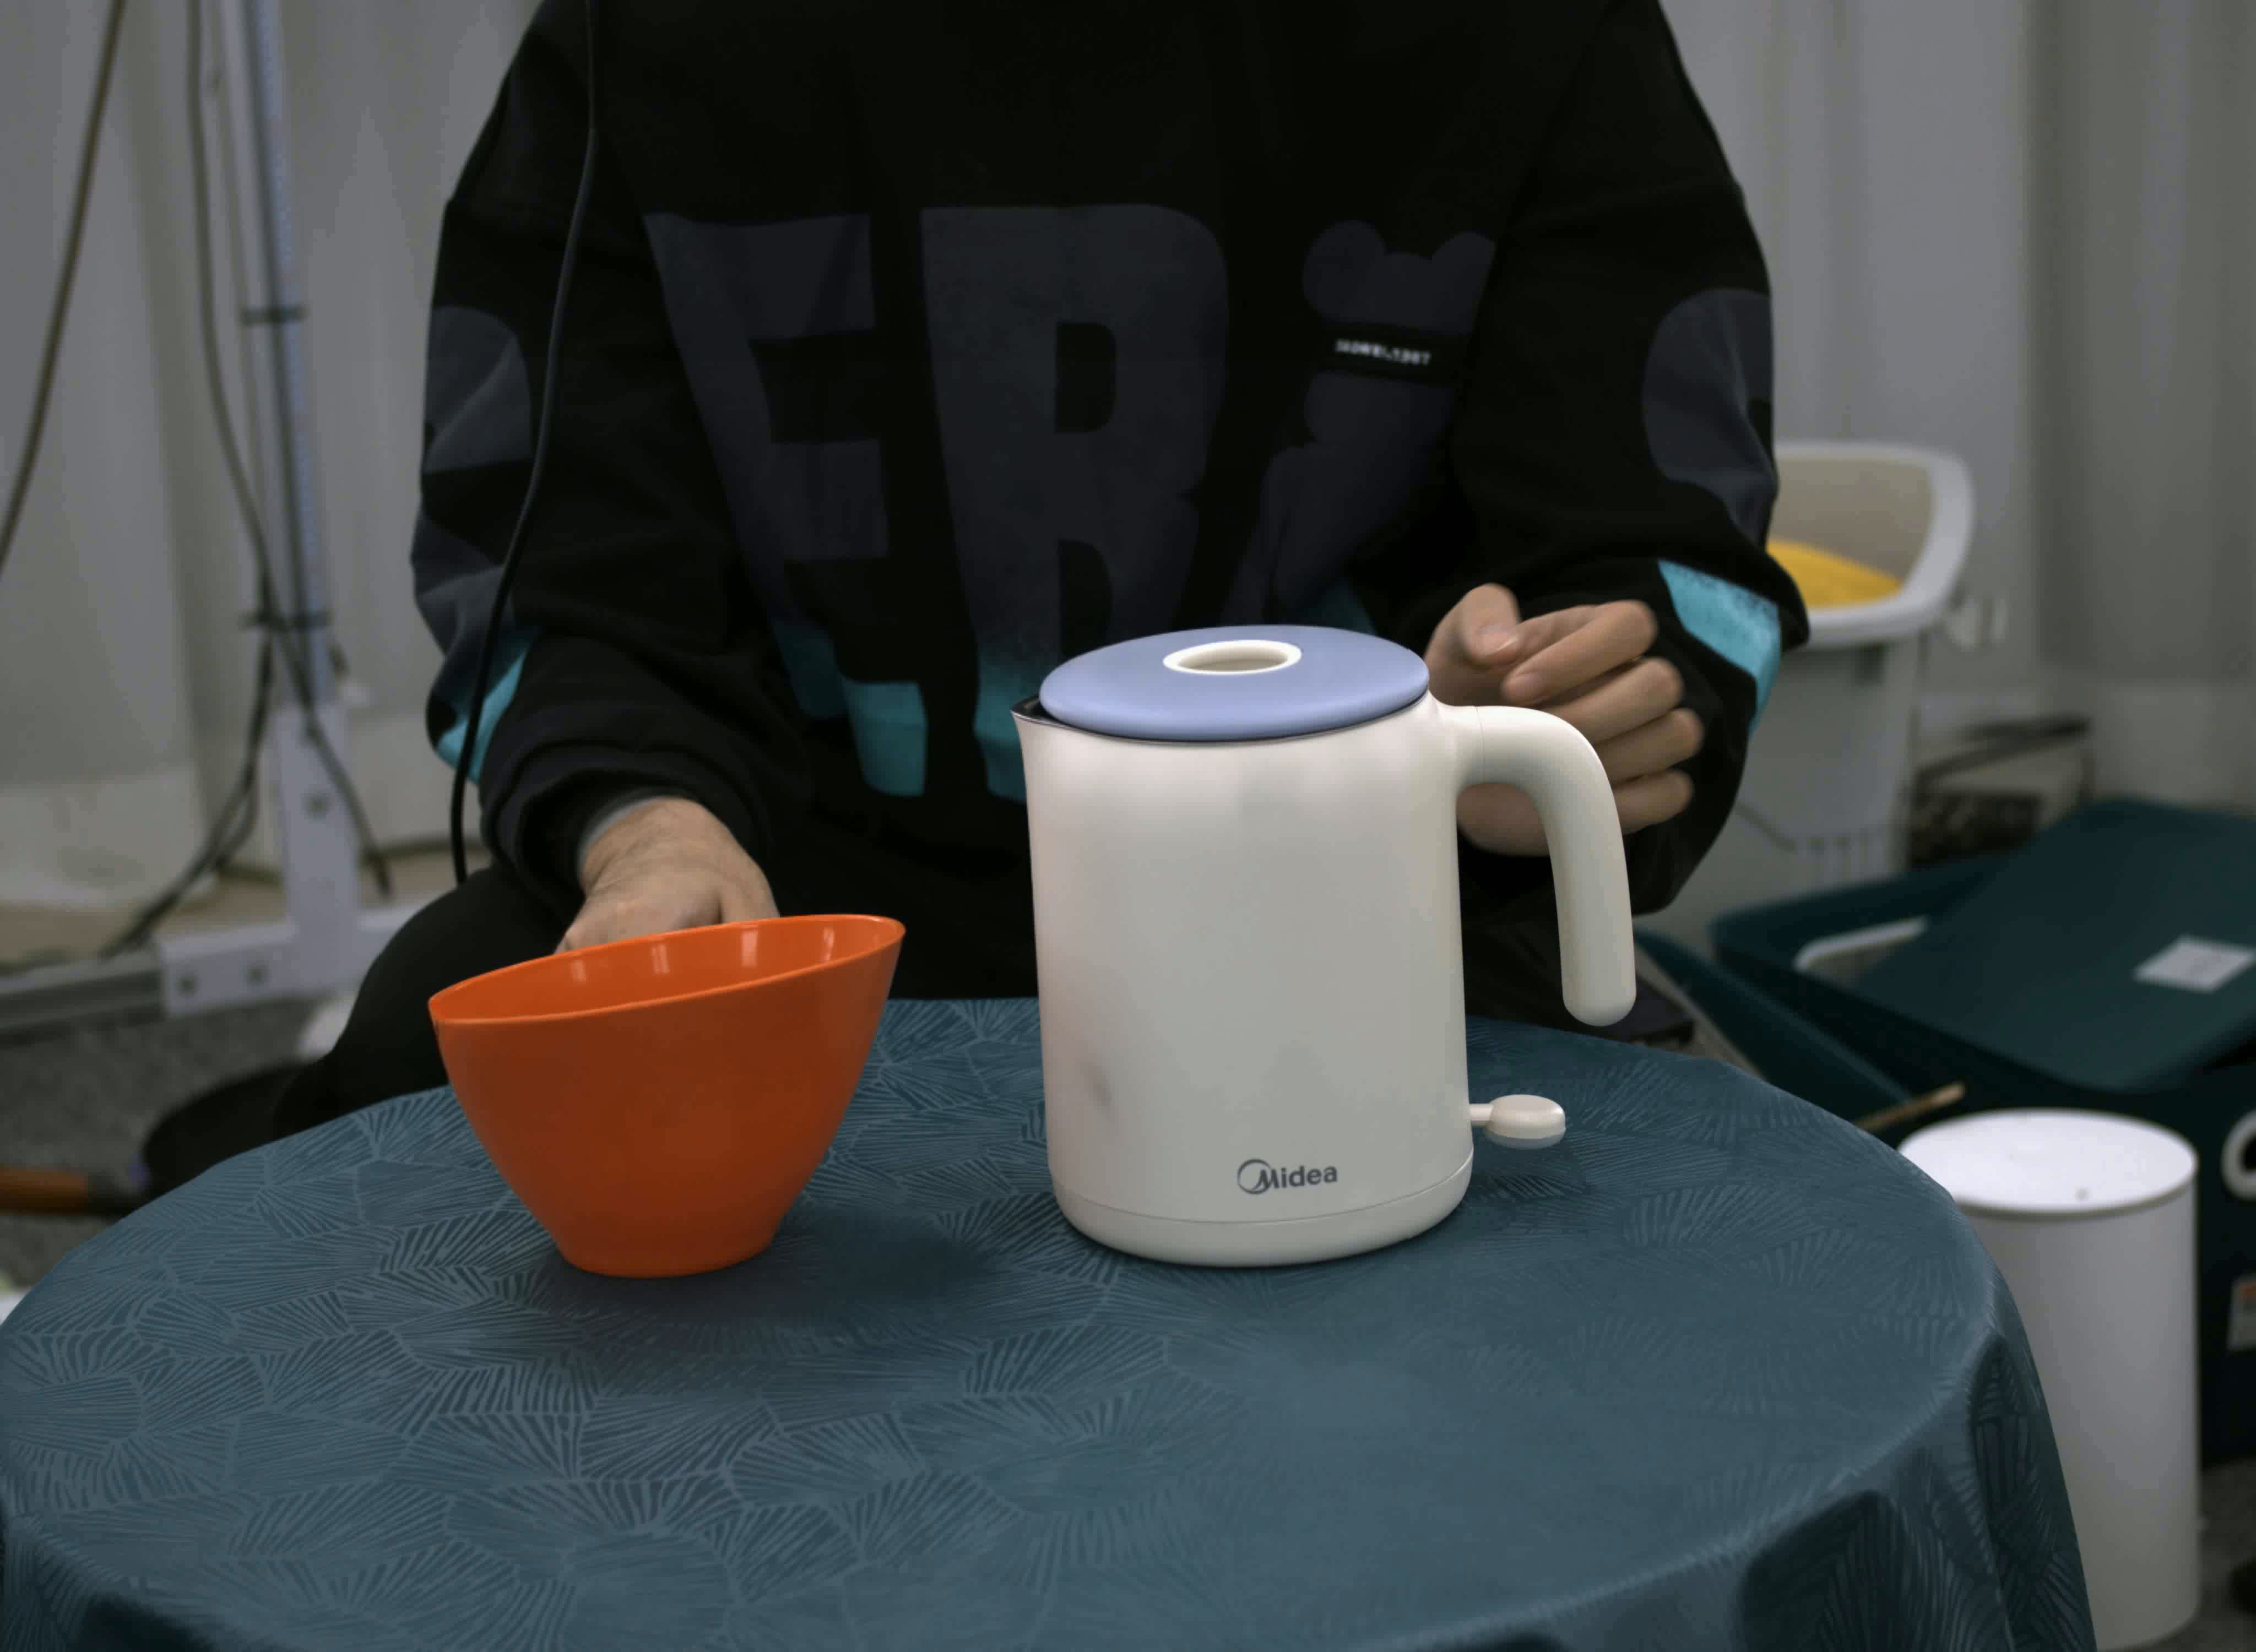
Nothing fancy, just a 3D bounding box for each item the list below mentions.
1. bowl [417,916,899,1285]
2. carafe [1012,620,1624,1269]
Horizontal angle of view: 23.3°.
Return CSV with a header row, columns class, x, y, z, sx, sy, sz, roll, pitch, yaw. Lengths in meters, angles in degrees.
class,x,y,z,sx,sy,sz,roll,pitch,yaw
bowl,-0.141,0.083,1.667,0.147,0.104,0.149,-3,15,0
carafe,0.060,0.034,1.678,0.190,0.182,0.133,-3,15,-8
